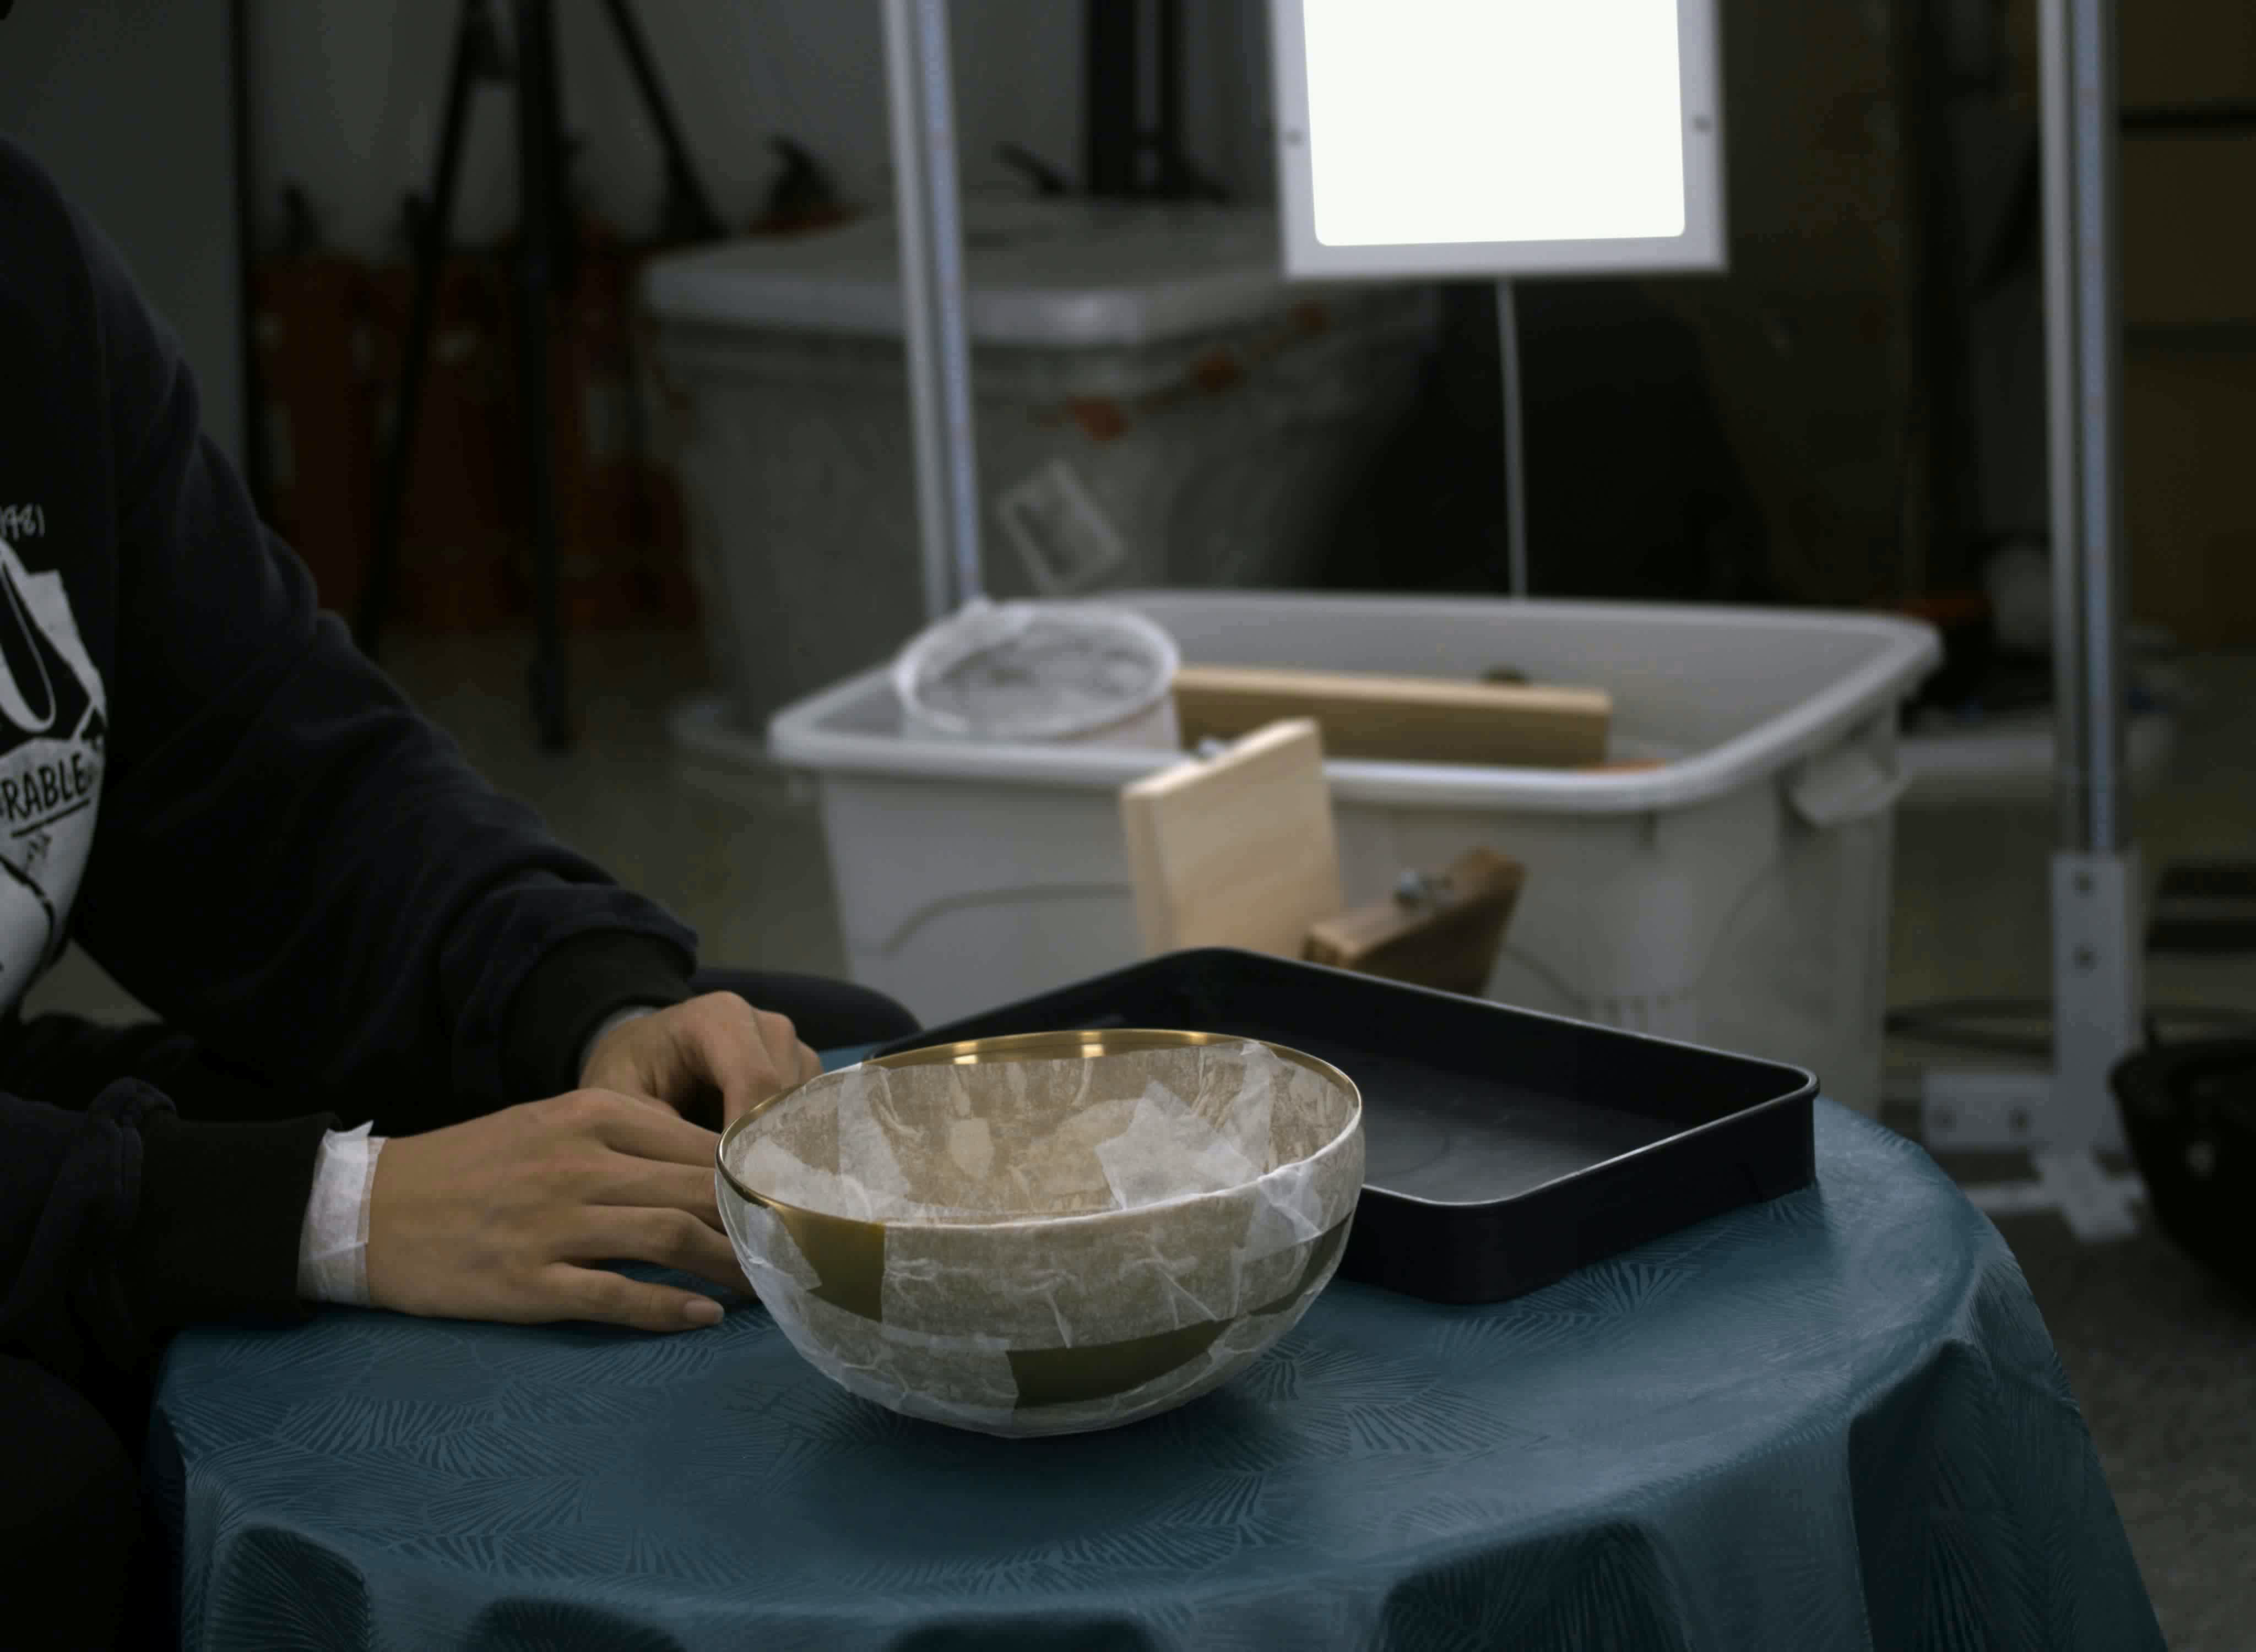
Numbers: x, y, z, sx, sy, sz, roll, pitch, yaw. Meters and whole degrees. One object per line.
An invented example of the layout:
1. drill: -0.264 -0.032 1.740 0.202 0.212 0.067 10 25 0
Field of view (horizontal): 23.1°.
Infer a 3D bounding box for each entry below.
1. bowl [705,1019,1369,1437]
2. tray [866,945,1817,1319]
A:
1. bowl: -0.023 0.131 1.692 0.214 0.095 0.214 -6 14 0
2. tray: 0.070 0.101 1.908 0.179 0.037 0.324 -15 18 -37
